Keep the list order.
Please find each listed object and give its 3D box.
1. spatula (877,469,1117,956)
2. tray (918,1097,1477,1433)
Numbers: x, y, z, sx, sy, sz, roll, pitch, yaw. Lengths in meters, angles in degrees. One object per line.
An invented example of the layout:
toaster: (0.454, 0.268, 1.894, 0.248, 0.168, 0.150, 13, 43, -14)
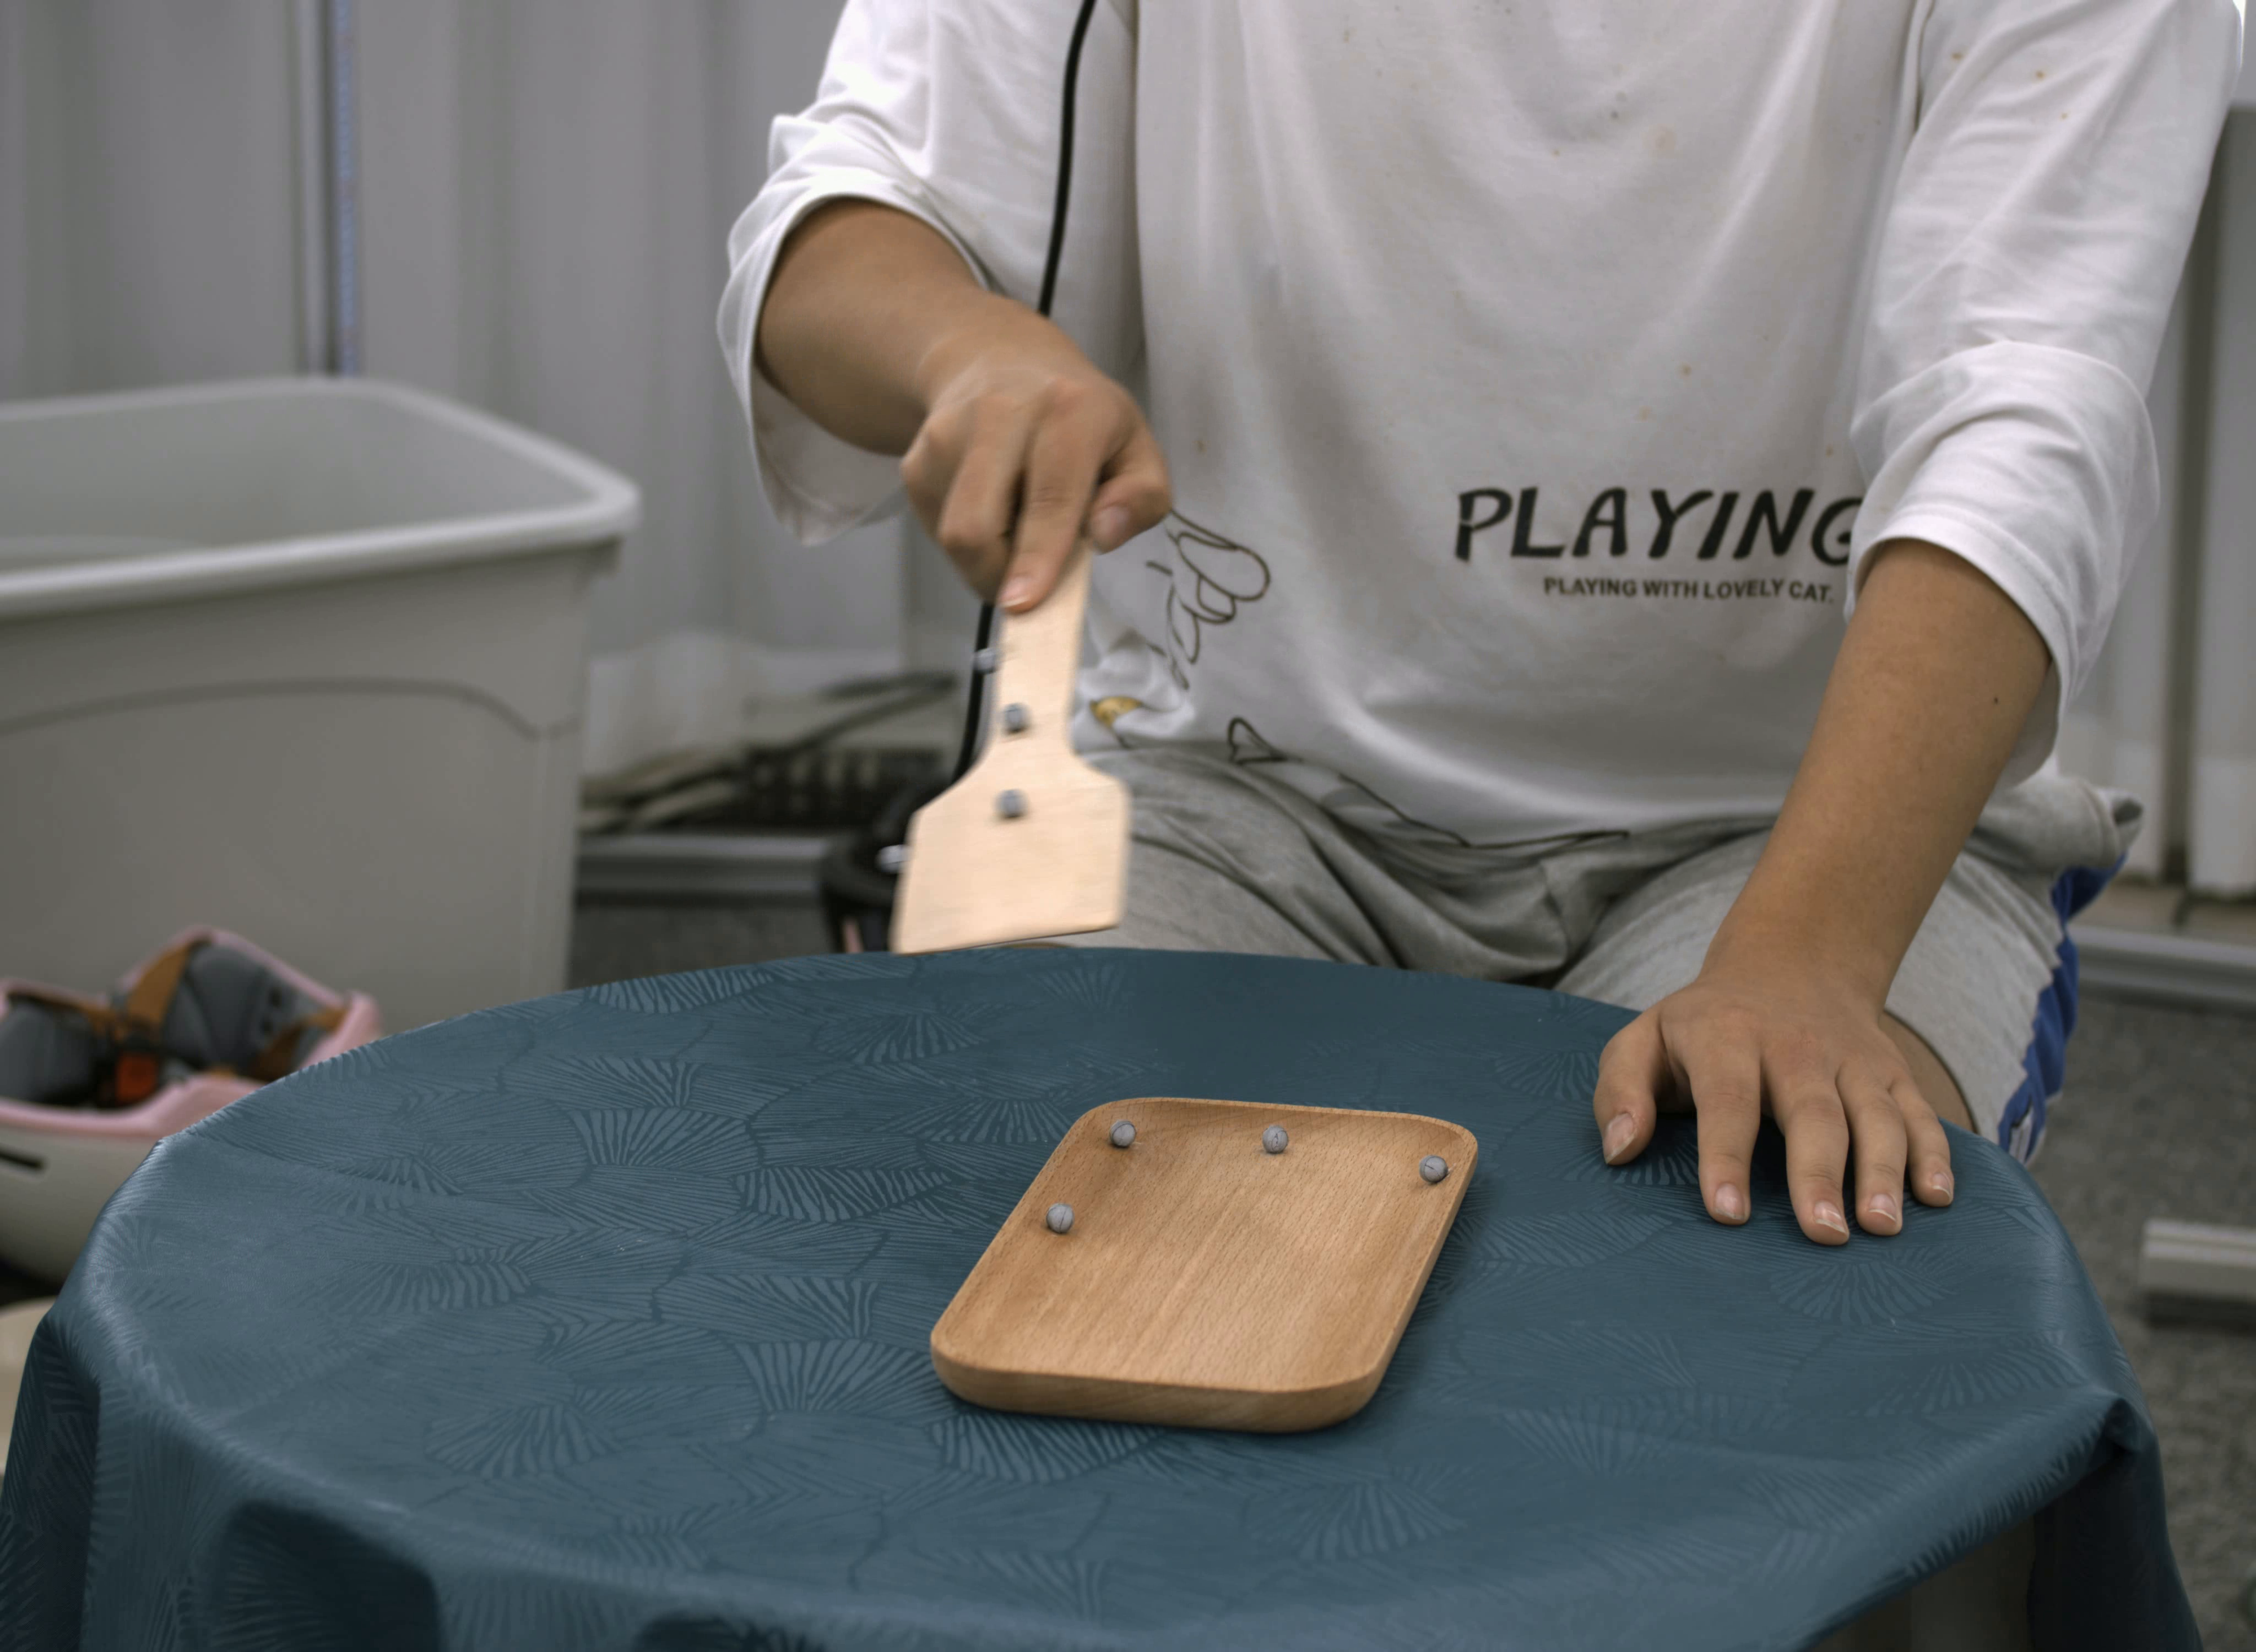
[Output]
spatula: (-0.035, -0.042, 1.694, 0.072, 0.011, 0.290, -8, 32, 8)
tray: (0.025, 0.126, 1.551, 0.129, 0.023, 0.250, 2, 15, 13)
